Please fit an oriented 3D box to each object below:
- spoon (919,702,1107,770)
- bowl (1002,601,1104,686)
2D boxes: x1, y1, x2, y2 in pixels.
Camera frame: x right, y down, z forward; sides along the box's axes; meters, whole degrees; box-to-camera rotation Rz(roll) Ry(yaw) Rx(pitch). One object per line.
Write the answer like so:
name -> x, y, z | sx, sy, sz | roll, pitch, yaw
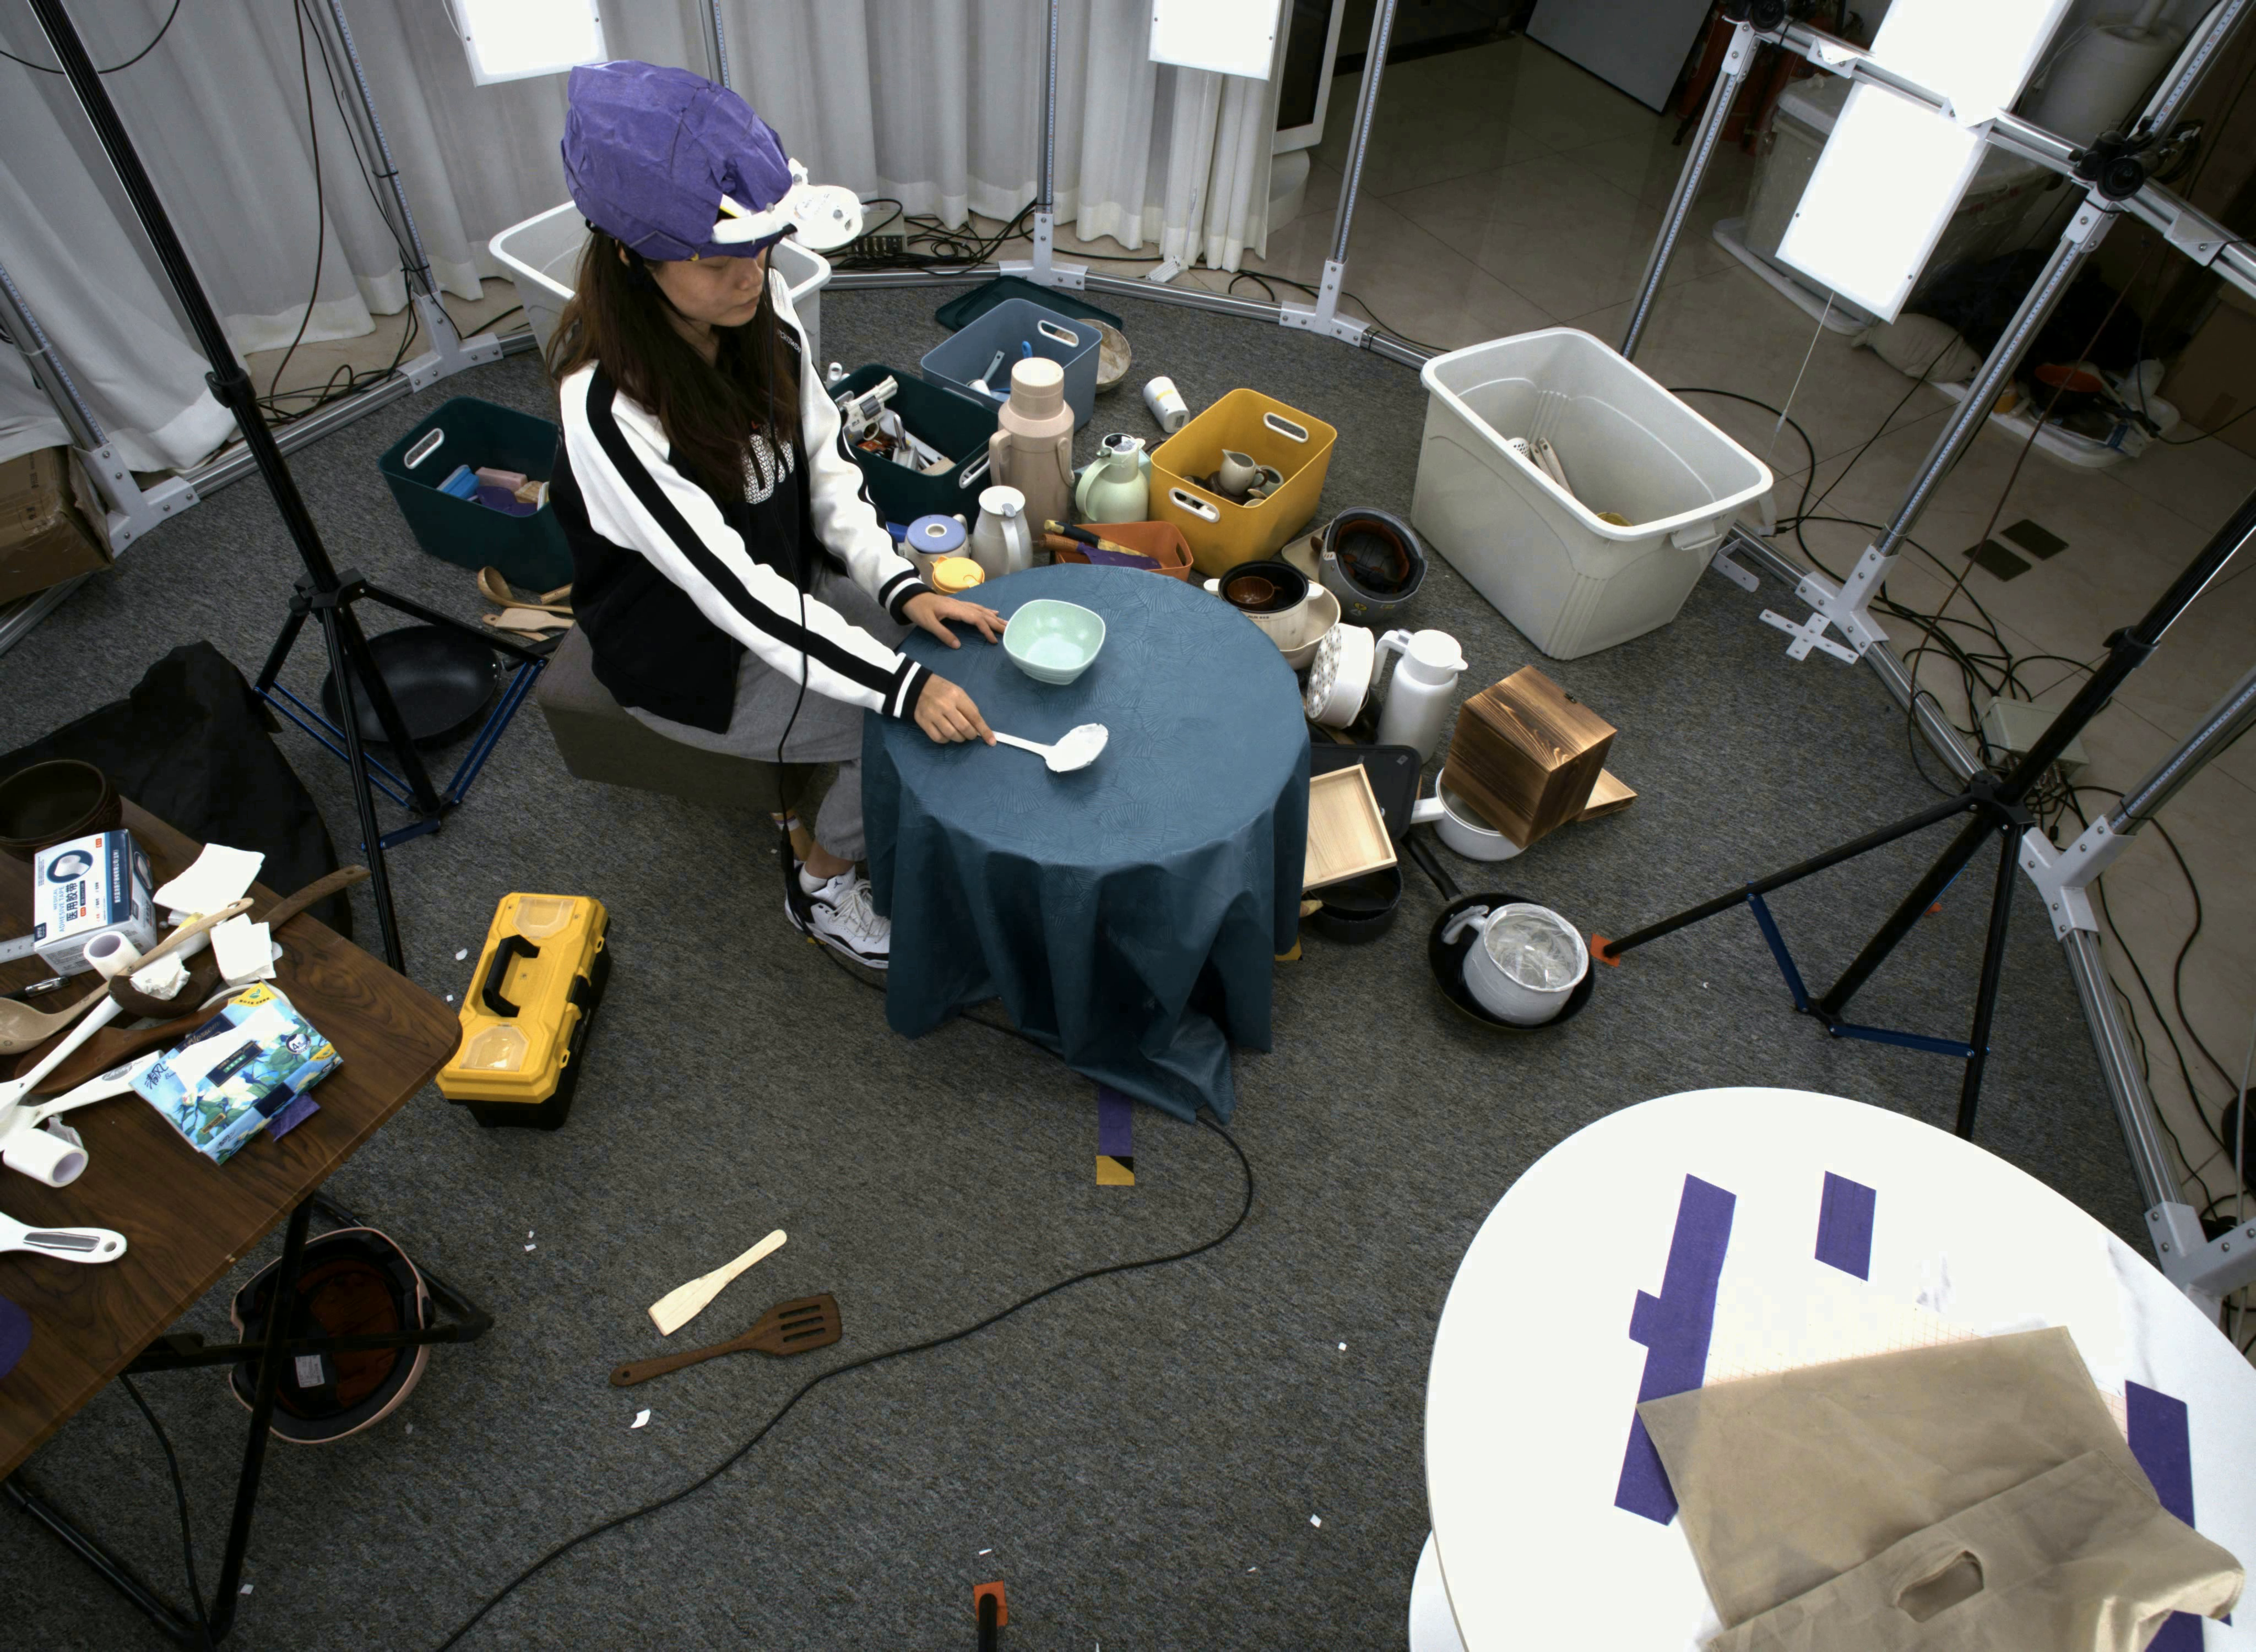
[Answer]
spoon -> -0.159, -0.142, 1.746 | 0.279, 0.058, 0.102 | 21, 46, 14
bowl -> -0.107, -0.254, 1.850 | 0.151, 0.057, 0.155 | 2, 49, -3
